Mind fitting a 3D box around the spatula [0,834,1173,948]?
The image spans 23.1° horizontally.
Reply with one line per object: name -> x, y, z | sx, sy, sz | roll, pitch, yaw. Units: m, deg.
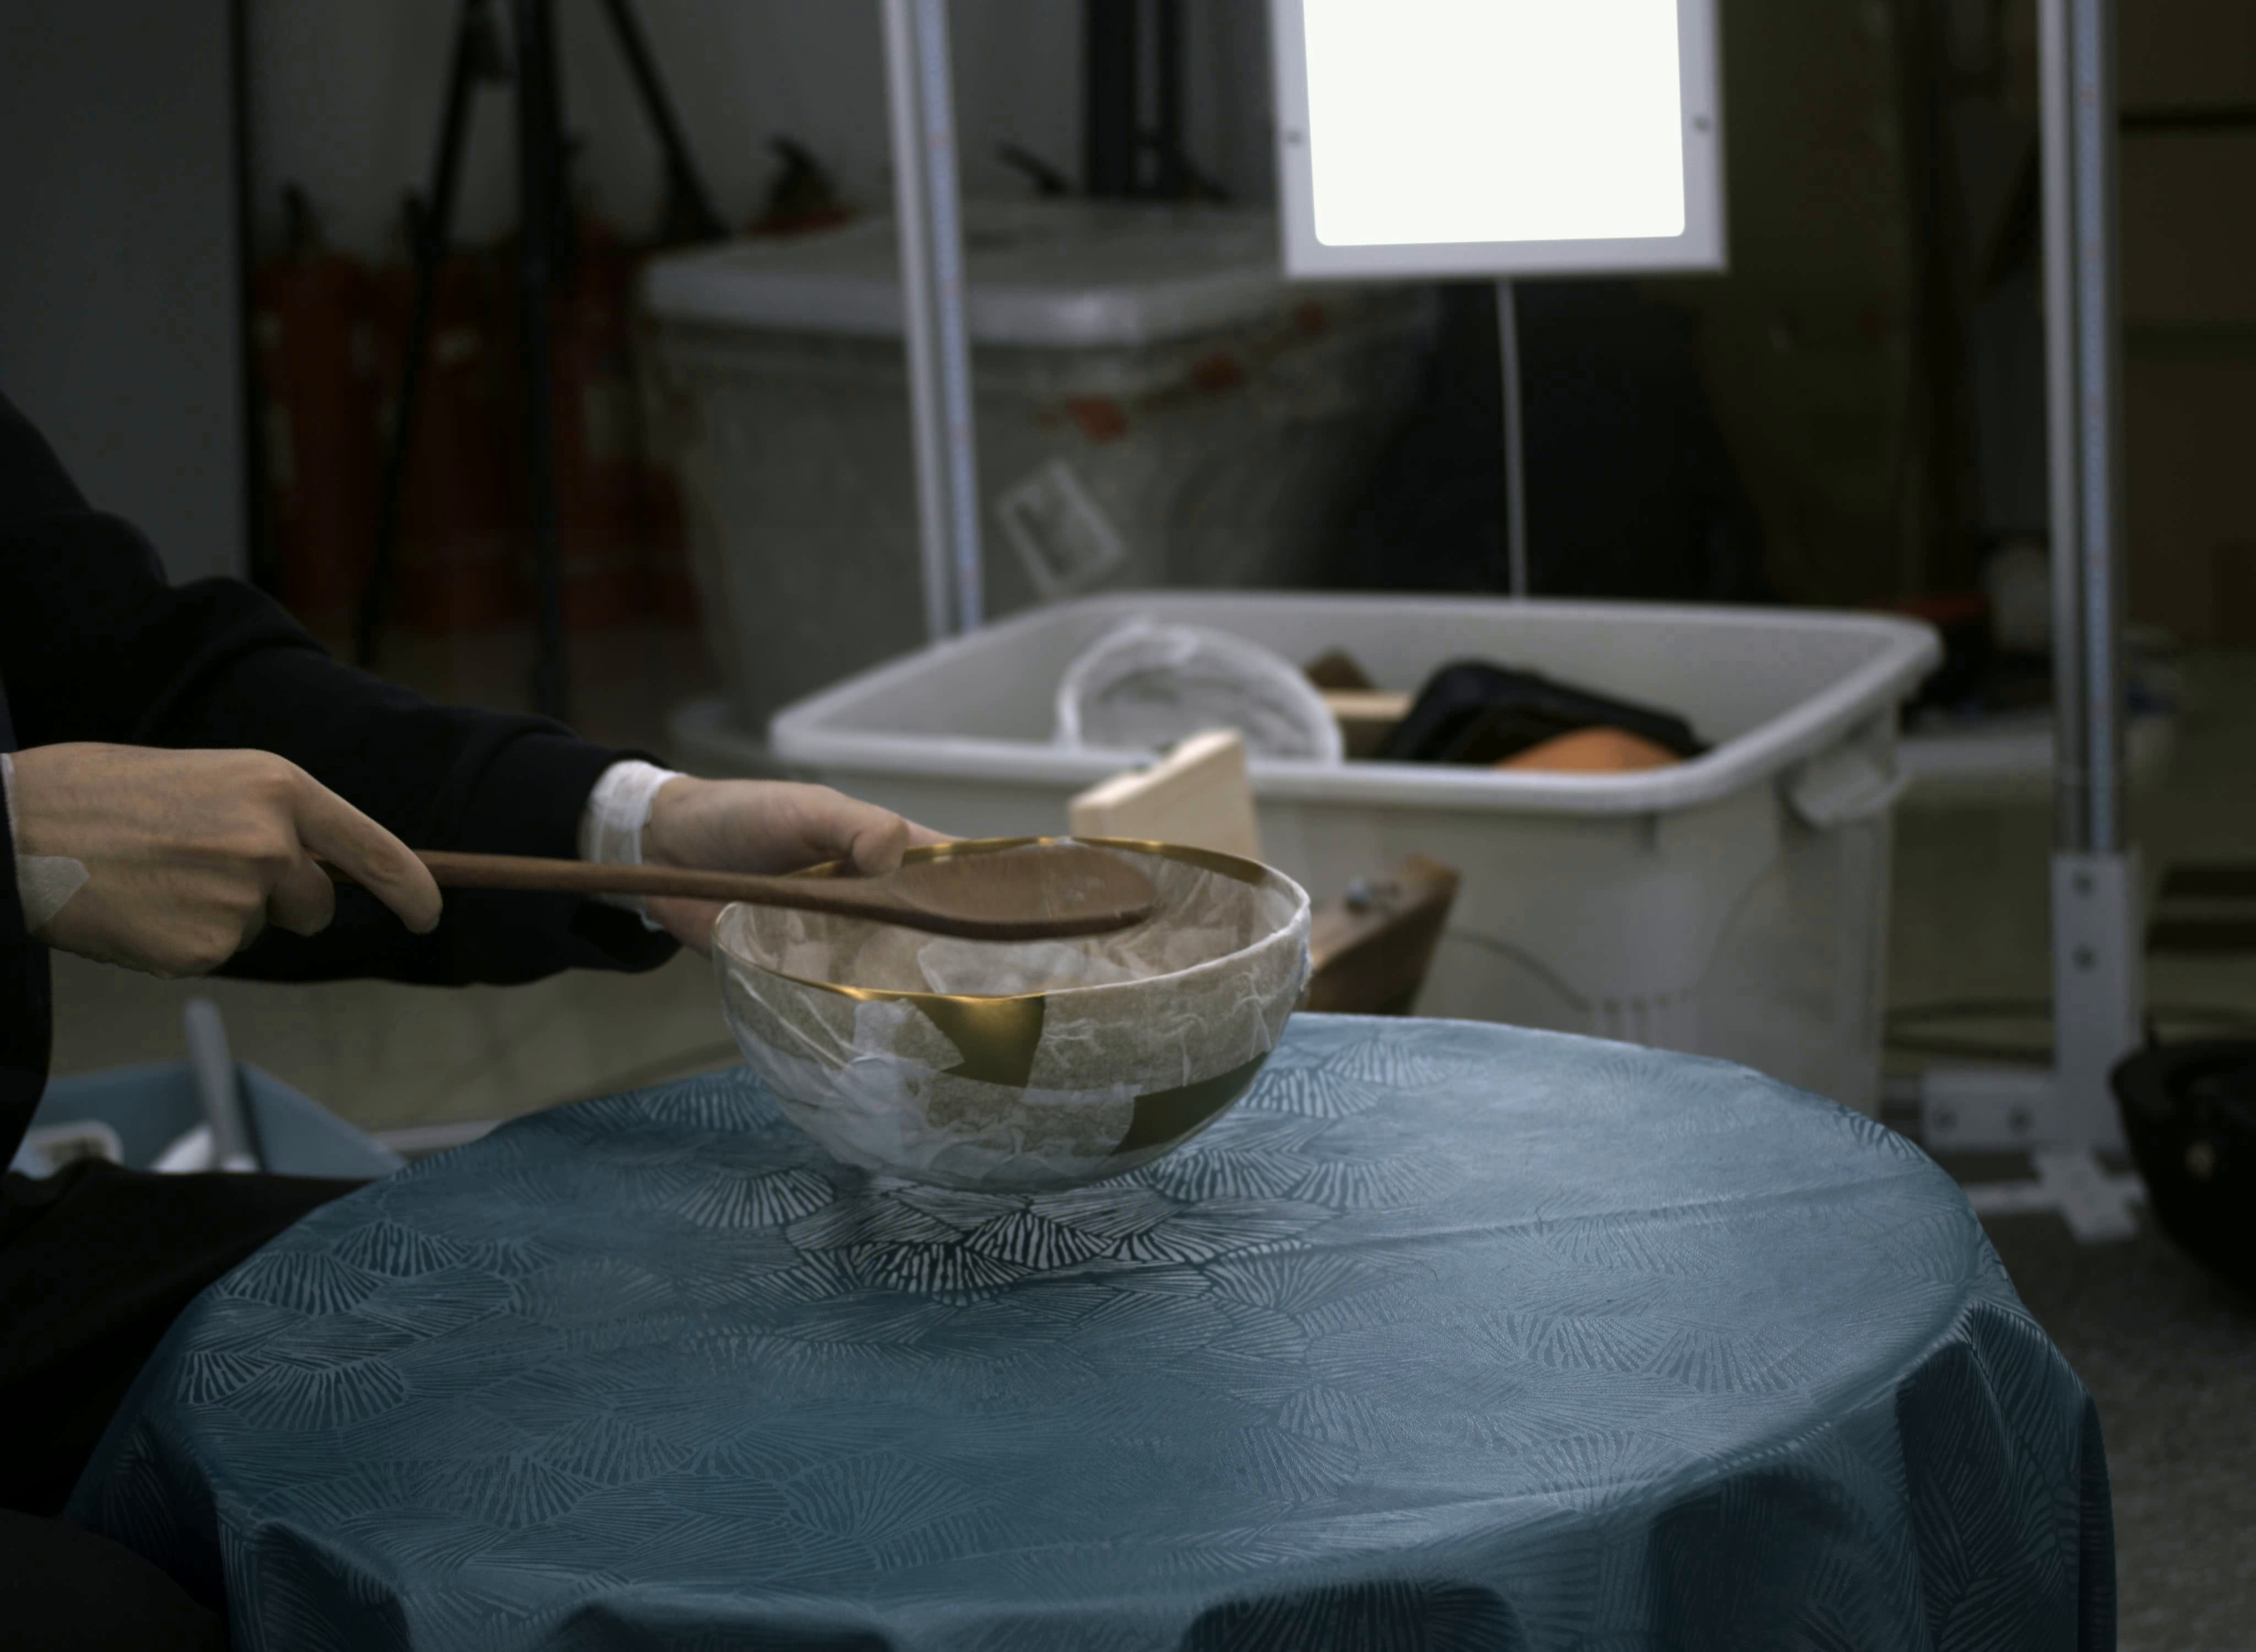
spatula -> -0.175, 0.018, 1.807 | 0.381, 0.016, 0.097 | 3, 12, -11

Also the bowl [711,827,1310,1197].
bowl -> -0.039, 0.070, 1.857 | 0.214, 0.095, 0.214 | -5, 15, 0
